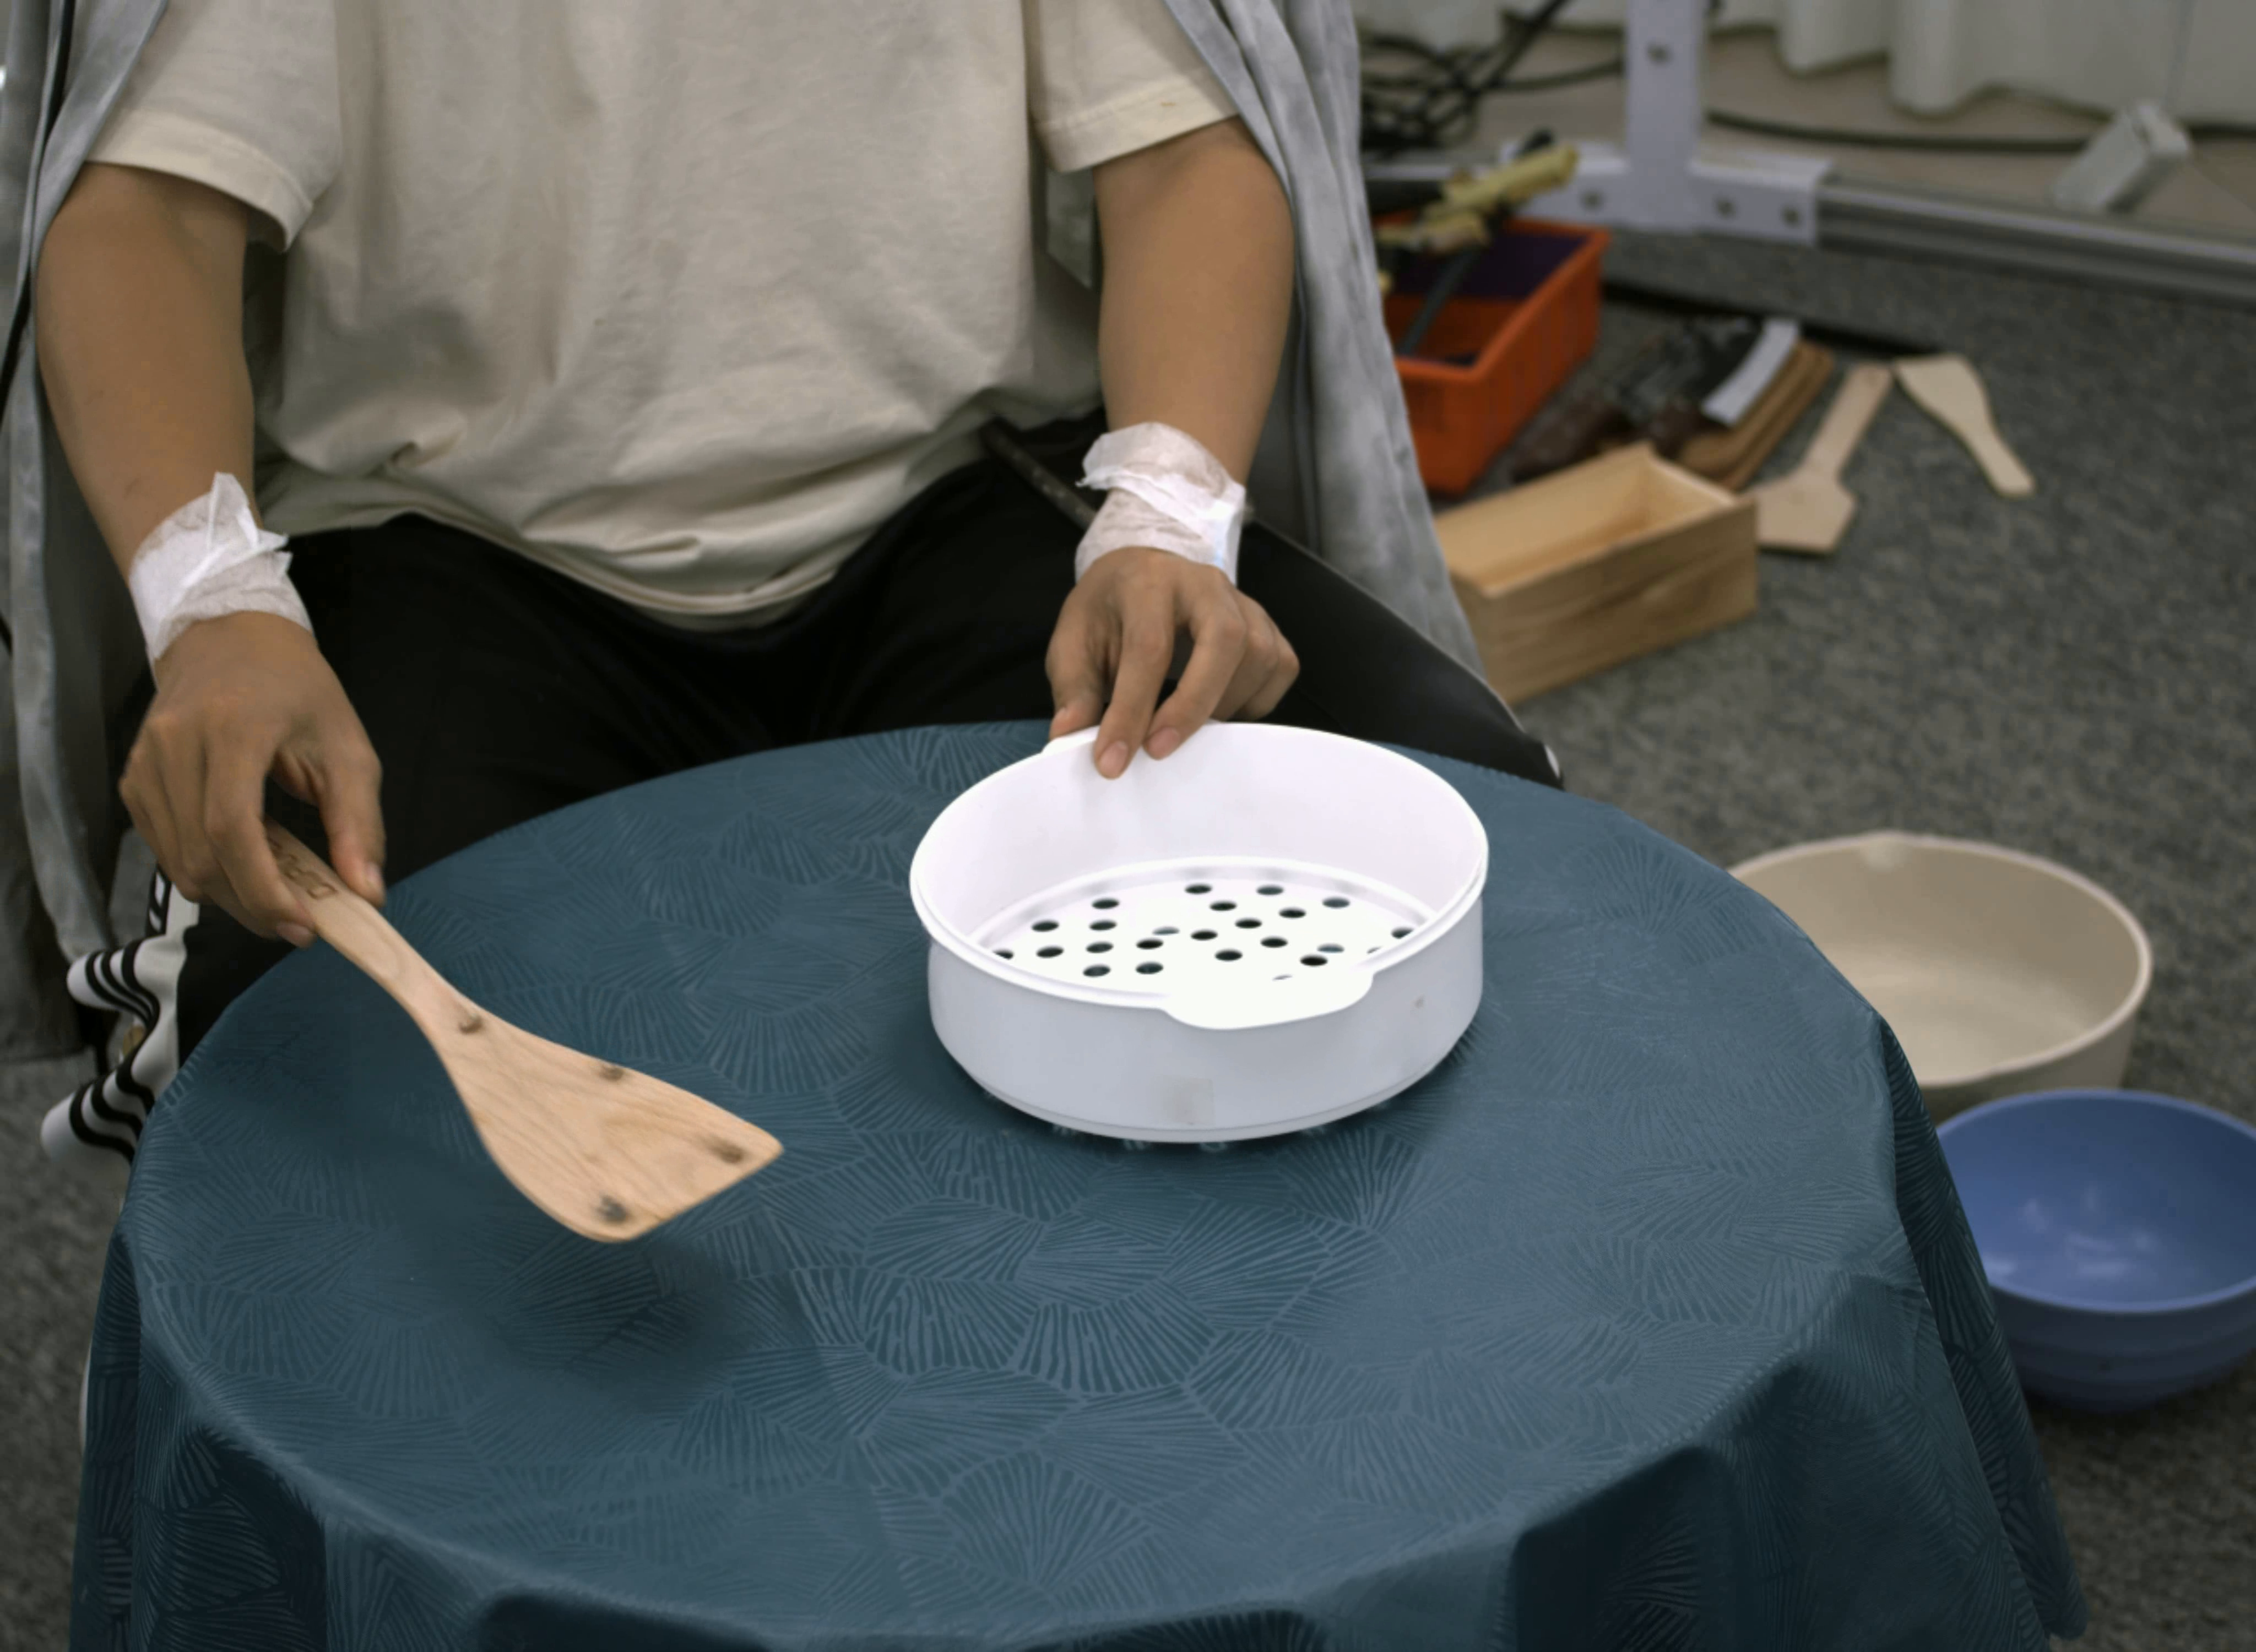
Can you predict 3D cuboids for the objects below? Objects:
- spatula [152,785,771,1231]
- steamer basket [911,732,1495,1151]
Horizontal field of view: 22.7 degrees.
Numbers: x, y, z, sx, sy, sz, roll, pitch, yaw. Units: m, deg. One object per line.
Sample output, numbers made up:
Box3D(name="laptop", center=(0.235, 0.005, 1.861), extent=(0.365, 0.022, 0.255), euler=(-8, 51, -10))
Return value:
Box3D(name="spatula", center=(-0.234, 0.053, 1.867), extent=(0.080, 0.016, 0.328), euler=(-20, 37, -34))
Box3D(name="steamer basket", center=(0.026, 0.041, 1.944), extent=(0.202, 0.068, 0.233), euler=(-7, 26, -11))
